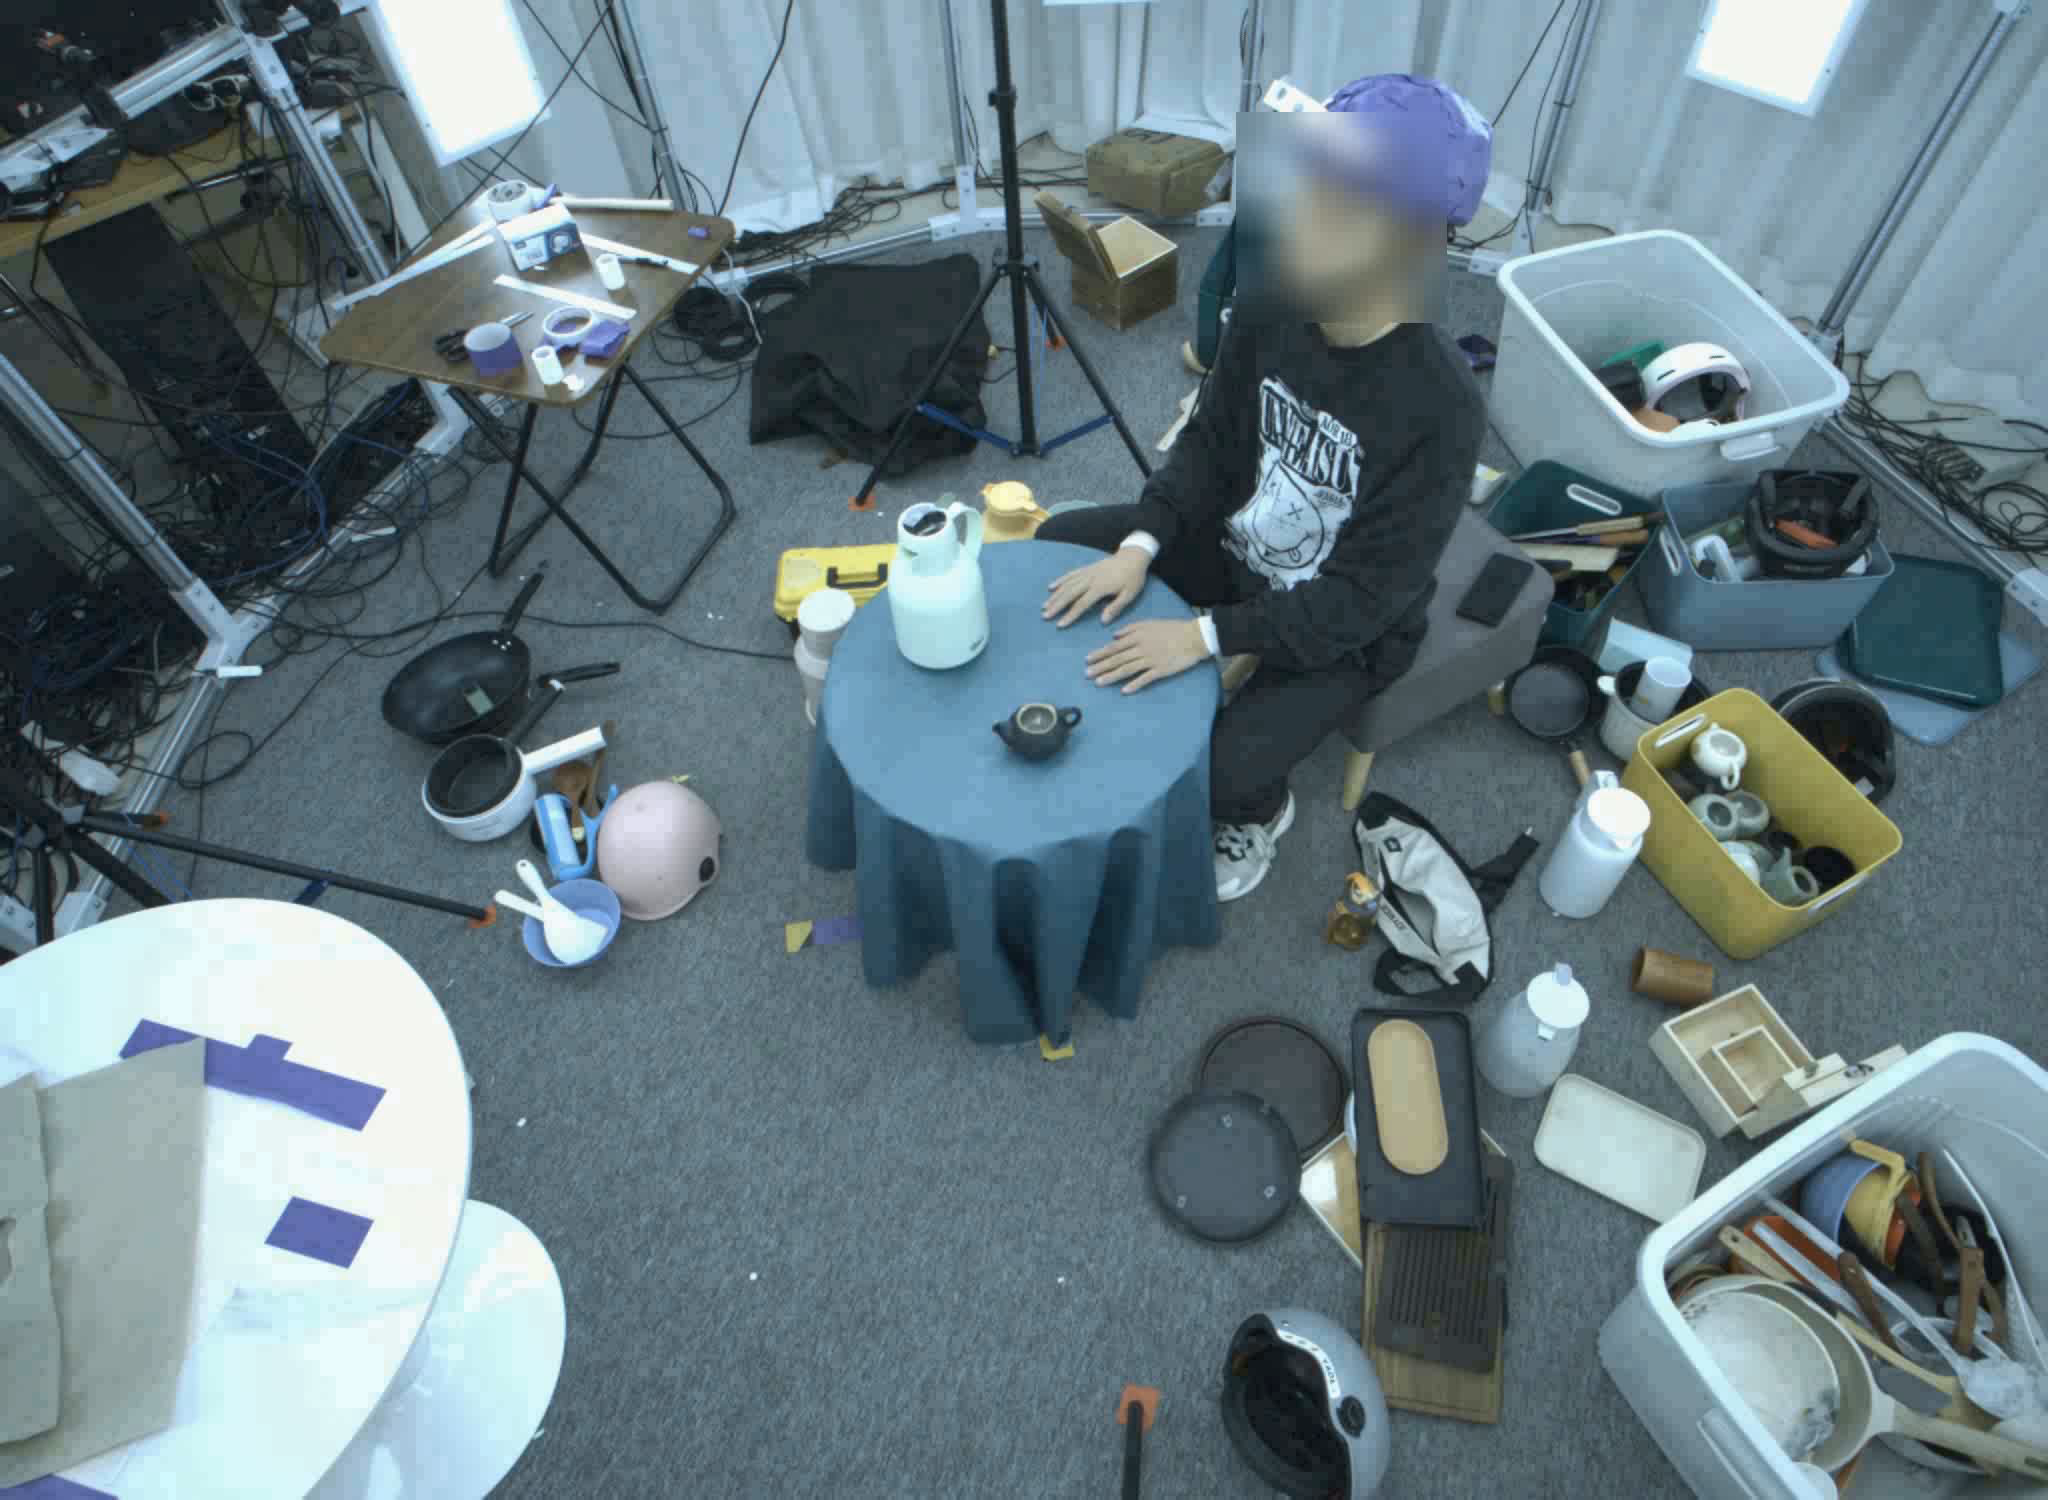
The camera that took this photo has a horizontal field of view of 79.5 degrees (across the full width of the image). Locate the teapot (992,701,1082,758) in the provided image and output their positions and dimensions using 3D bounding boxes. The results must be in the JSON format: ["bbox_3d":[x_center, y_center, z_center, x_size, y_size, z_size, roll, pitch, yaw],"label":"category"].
[{"bbox_3d":[0.020,-0.031,1.771,0.134,0.053,0.089,-14,57,-8],"label":"teapot"}]

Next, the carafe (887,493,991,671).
[{"bbox_3d":[-0.124,-0.256,1.816,0.142,0.259,0.187,25,56,22],"label":"carafe"}]
